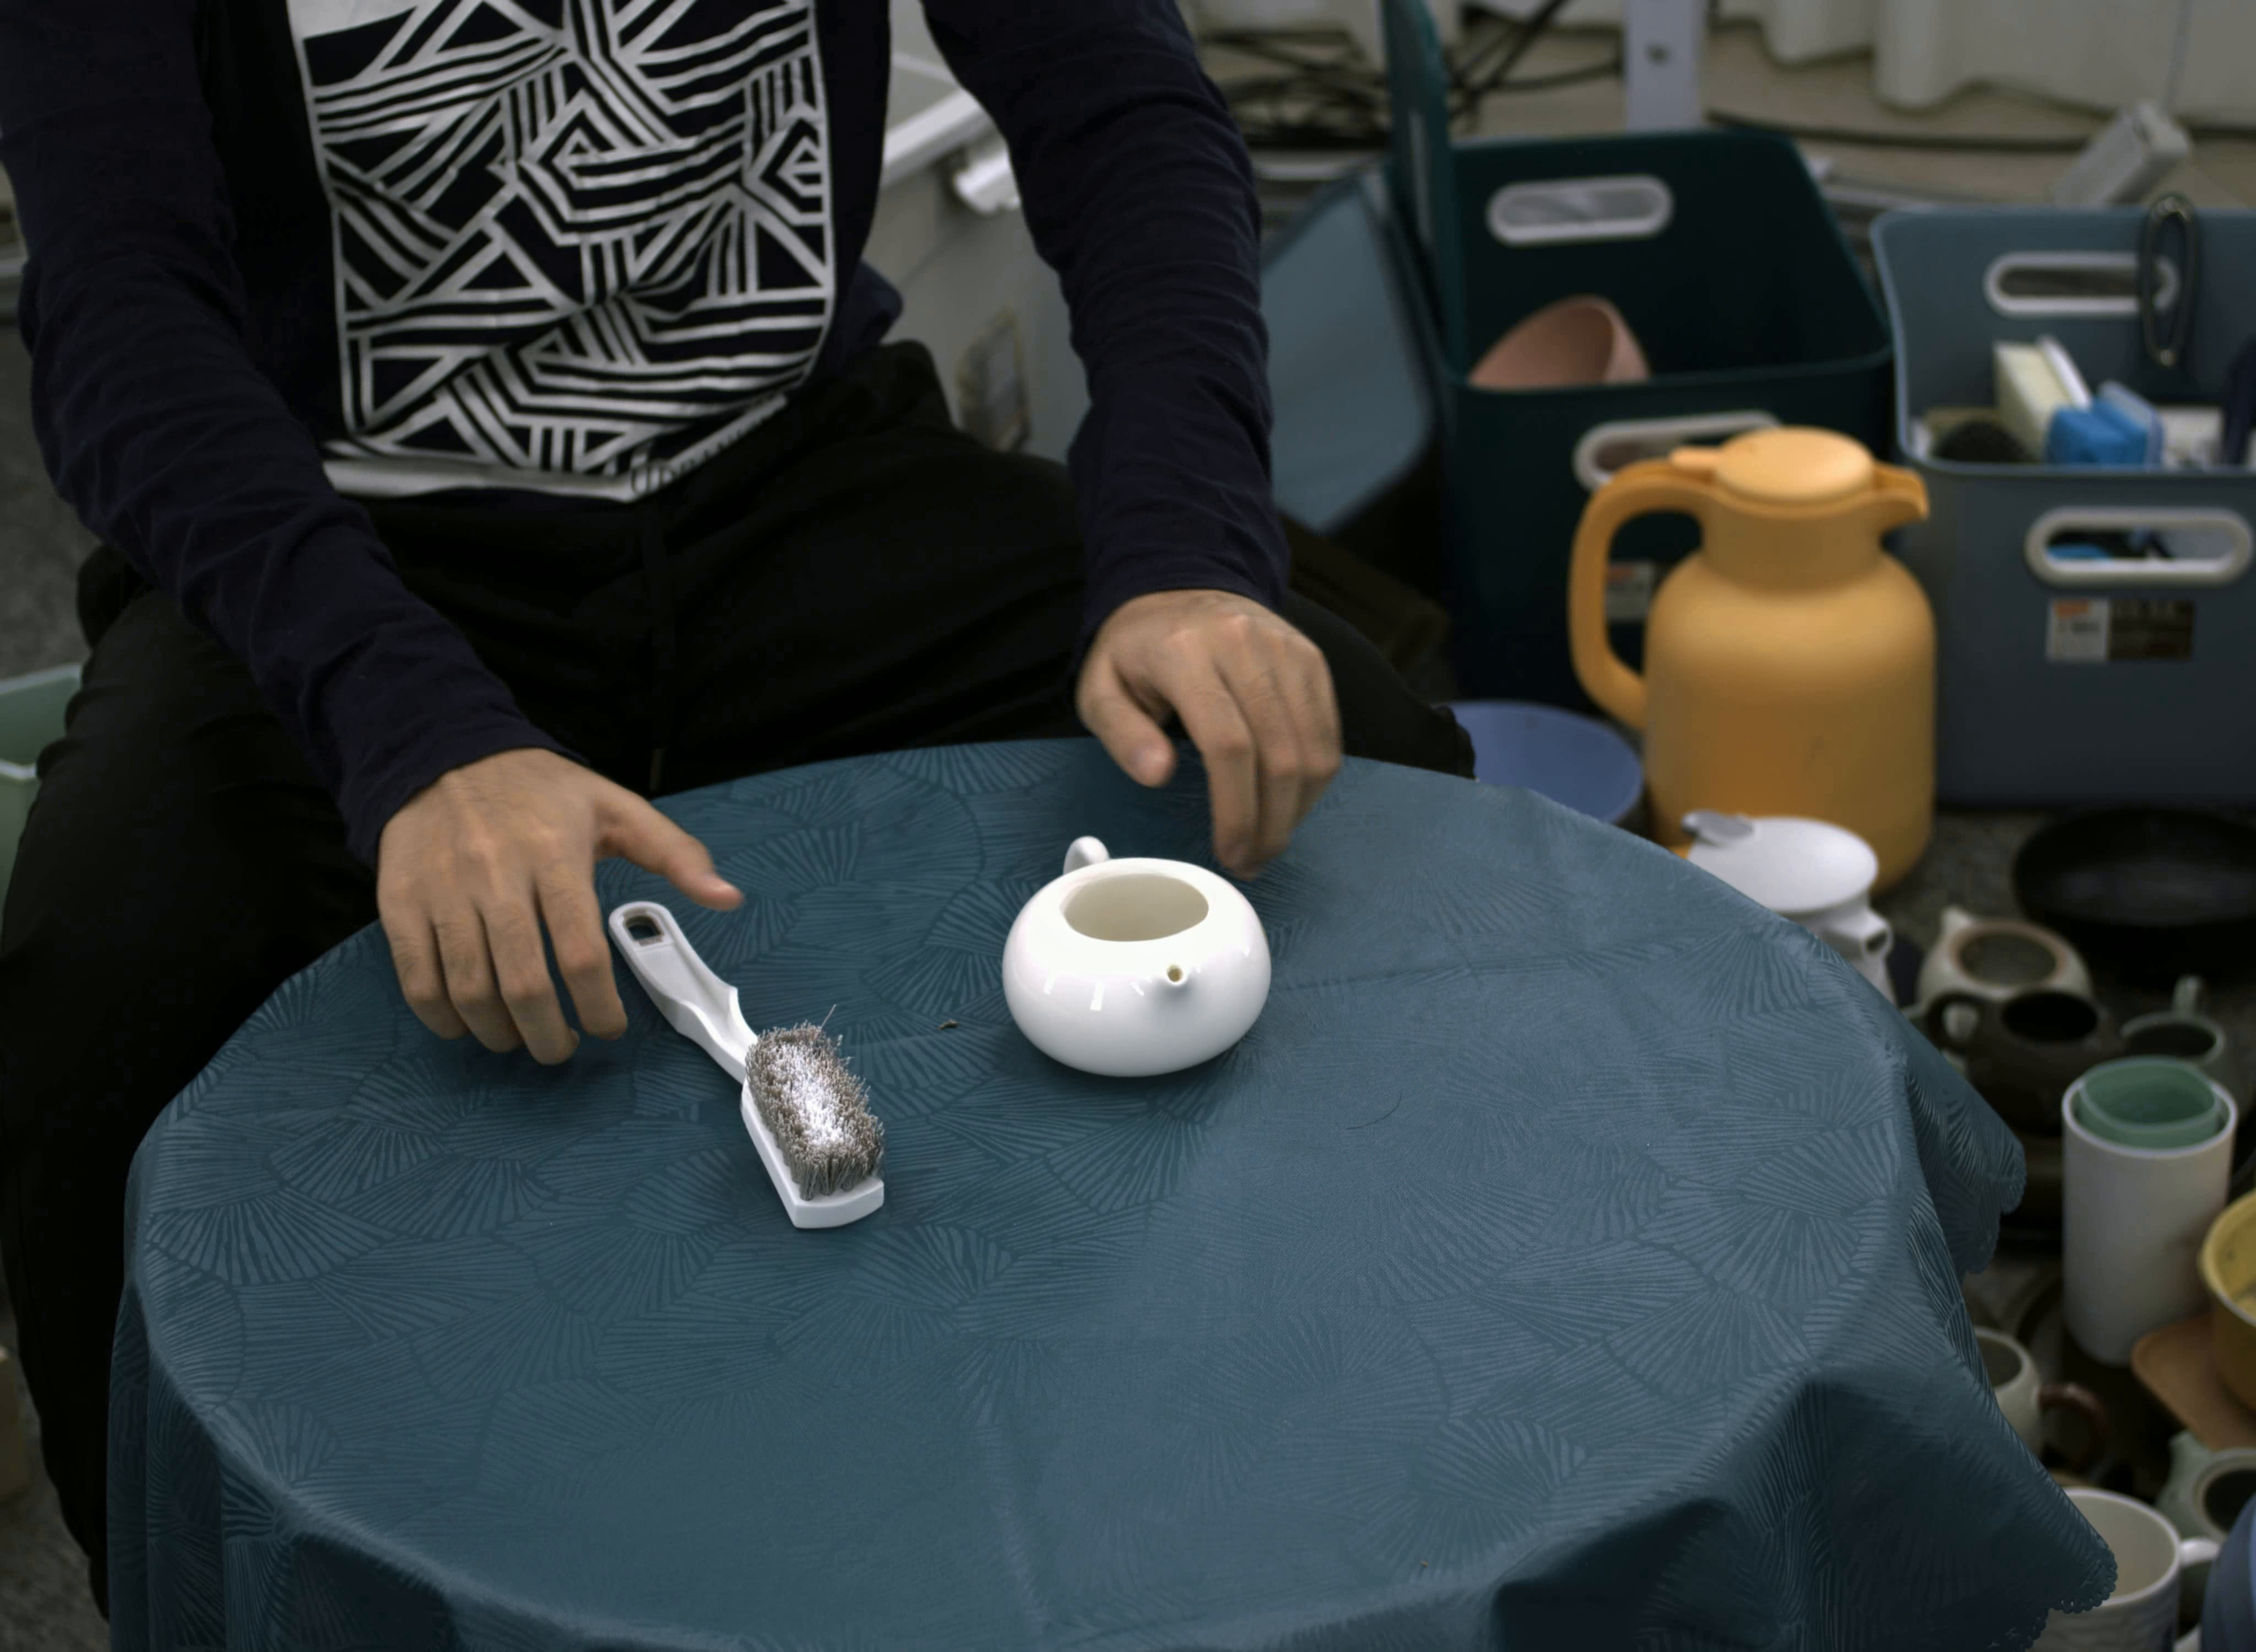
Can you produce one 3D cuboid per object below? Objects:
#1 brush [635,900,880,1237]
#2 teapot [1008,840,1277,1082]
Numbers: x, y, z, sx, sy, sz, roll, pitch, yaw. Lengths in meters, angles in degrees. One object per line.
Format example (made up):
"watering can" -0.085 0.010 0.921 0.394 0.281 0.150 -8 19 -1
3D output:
"brush" -0.133 0.066 1.930 0.034 0.049 0.246 -15 30 -13
"teapot" 0.001 0.046 1.948 0.094 0.056 0.128 -16 28 -16
